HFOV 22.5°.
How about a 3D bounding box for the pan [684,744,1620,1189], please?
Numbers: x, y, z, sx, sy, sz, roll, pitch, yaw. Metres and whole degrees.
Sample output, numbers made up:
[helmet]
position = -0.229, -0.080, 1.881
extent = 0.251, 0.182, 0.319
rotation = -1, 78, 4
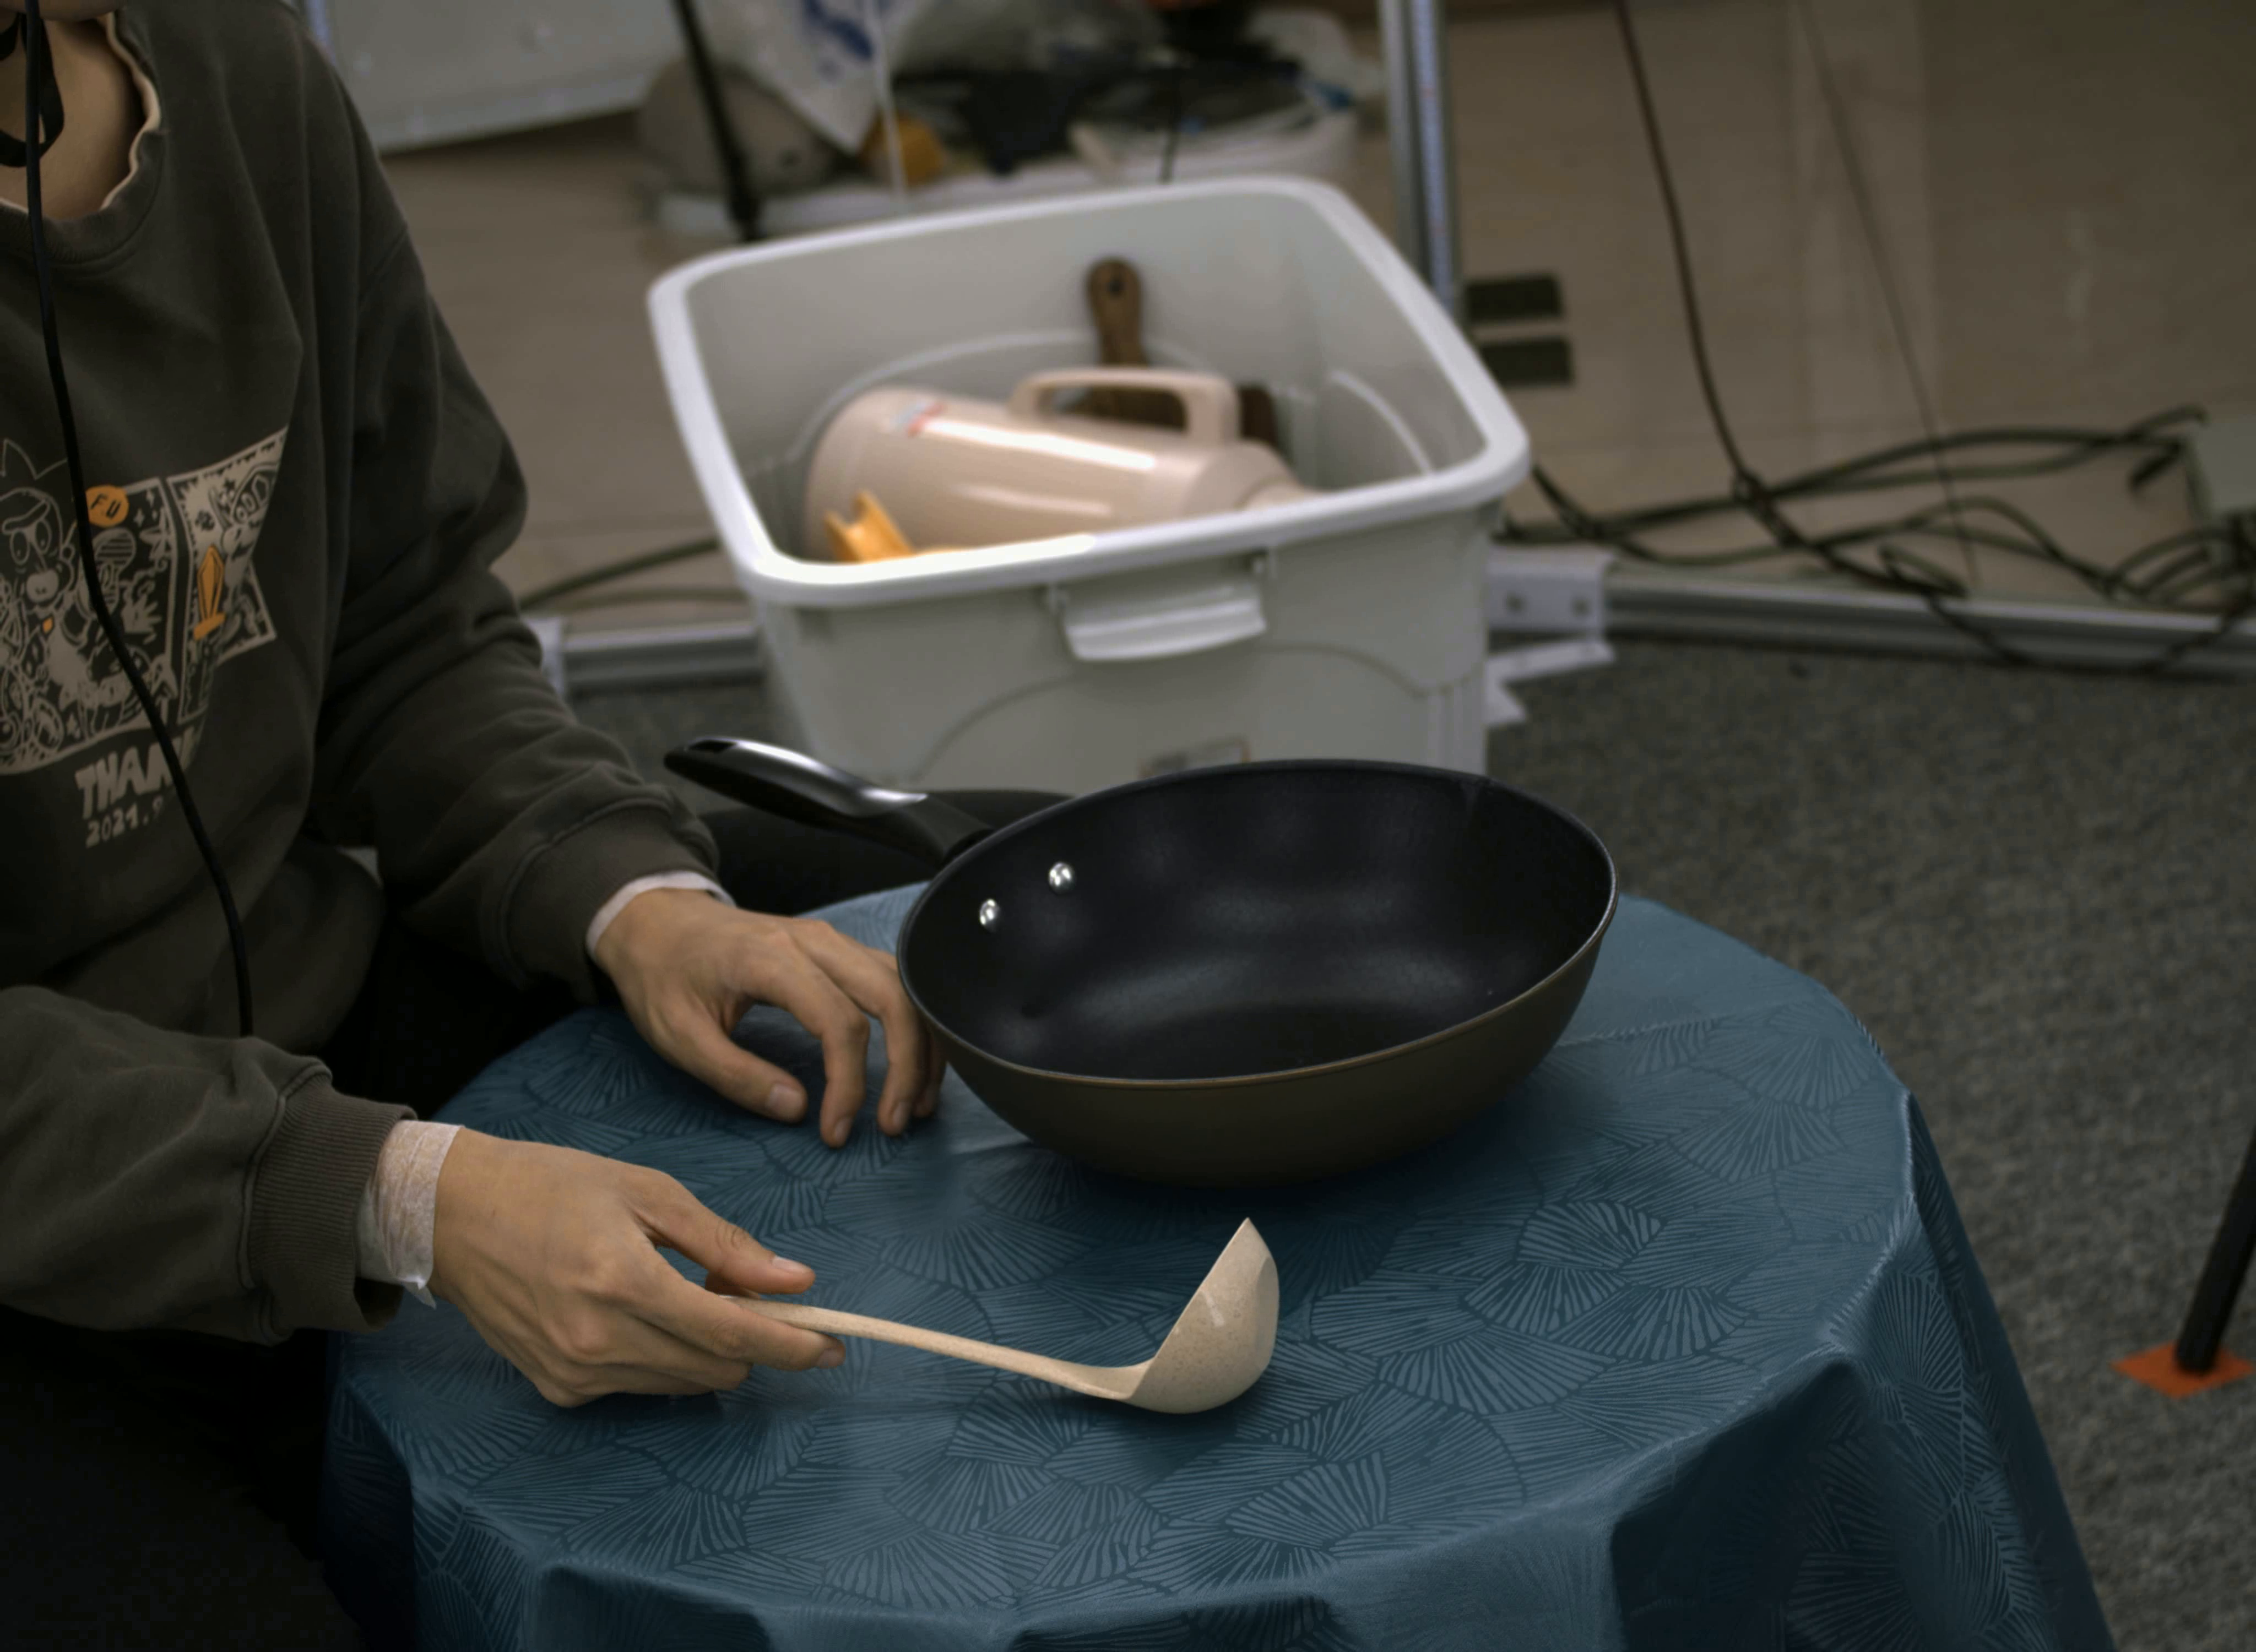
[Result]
[pan]
position = -0.014, 0.049, 2.245
extent = 0.460, 0.088, 0.285
rotation = 15, 33, 41

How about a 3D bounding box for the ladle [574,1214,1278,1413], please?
[ladle]
position = -0.074, 0.158, 2.006
extent = 0.254, 0.074, 0.071
rotation = 7, 24, 10
